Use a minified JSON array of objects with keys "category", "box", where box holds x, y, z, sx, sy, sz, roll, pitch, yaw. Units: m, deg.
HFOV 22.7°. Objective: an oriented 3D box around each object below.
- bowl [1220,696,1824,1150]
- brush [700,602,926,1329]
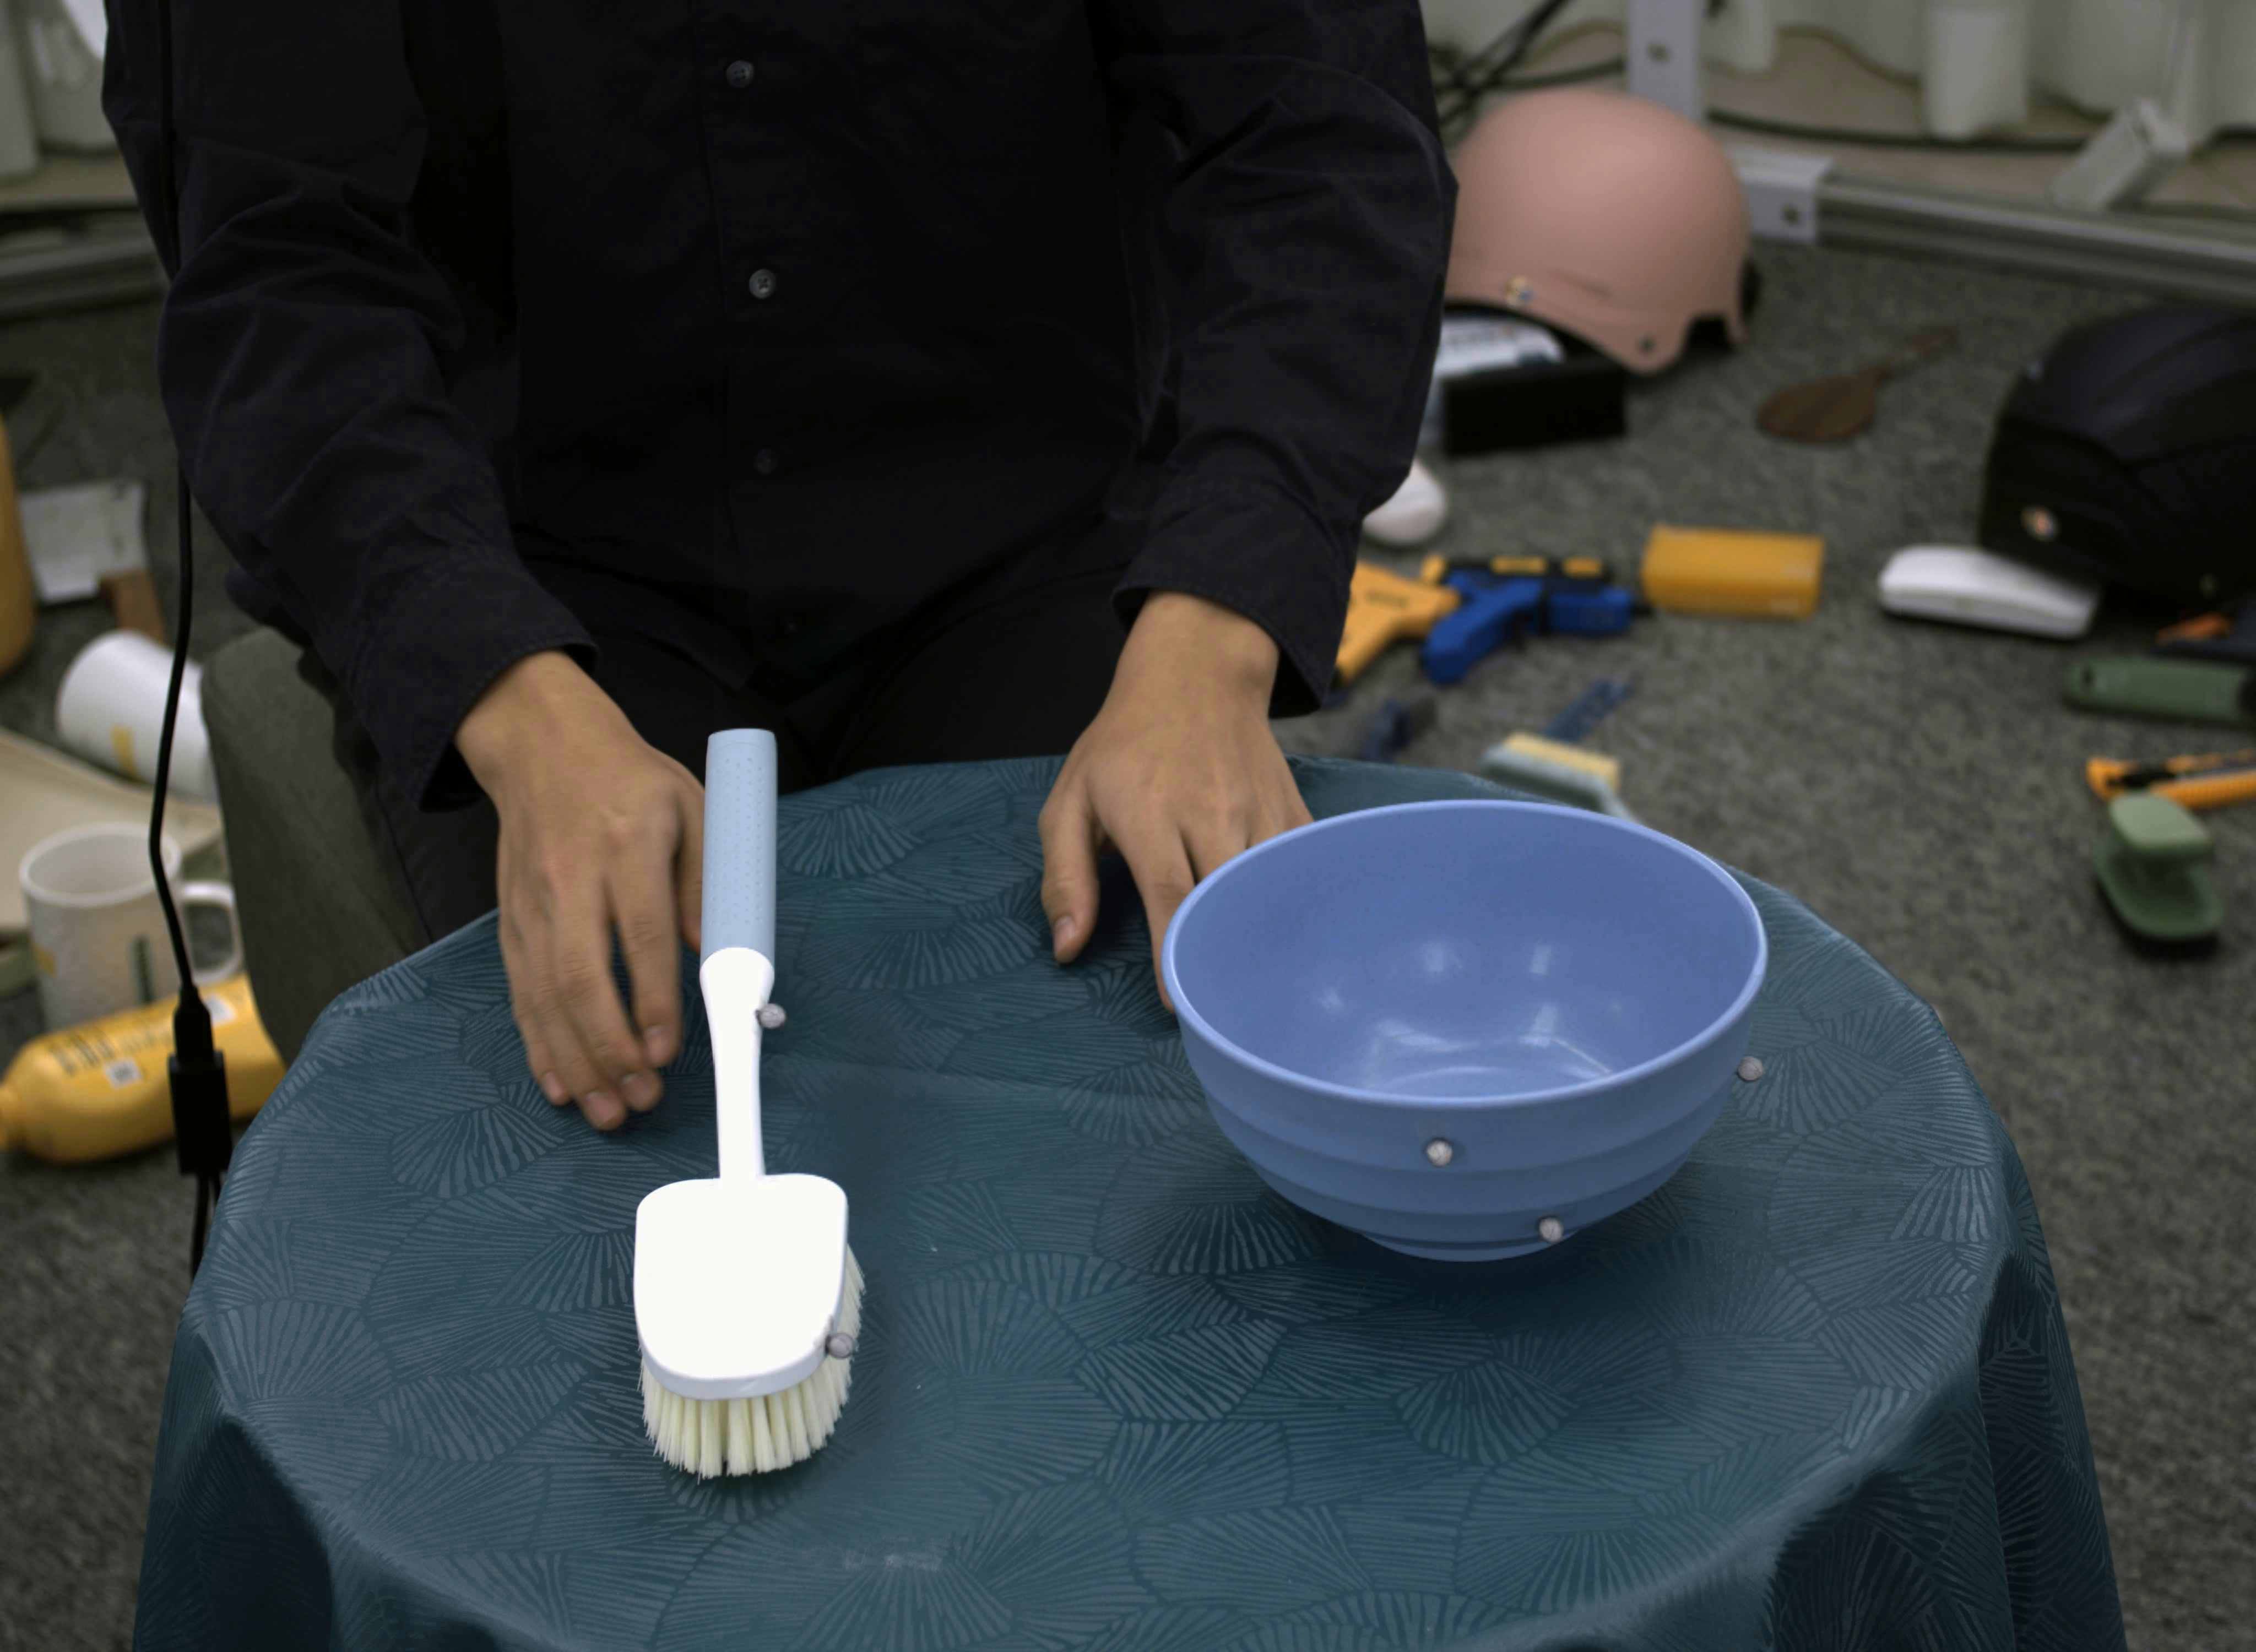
[{"category":"bowl","box":[0.130,0.043,1.848,0.195,0.094,0.199,-3,27,2]},{"category":"brush","box":[-0.100,0.054,1.857,0.083,0.083,0.331,27,33,-22]}]
